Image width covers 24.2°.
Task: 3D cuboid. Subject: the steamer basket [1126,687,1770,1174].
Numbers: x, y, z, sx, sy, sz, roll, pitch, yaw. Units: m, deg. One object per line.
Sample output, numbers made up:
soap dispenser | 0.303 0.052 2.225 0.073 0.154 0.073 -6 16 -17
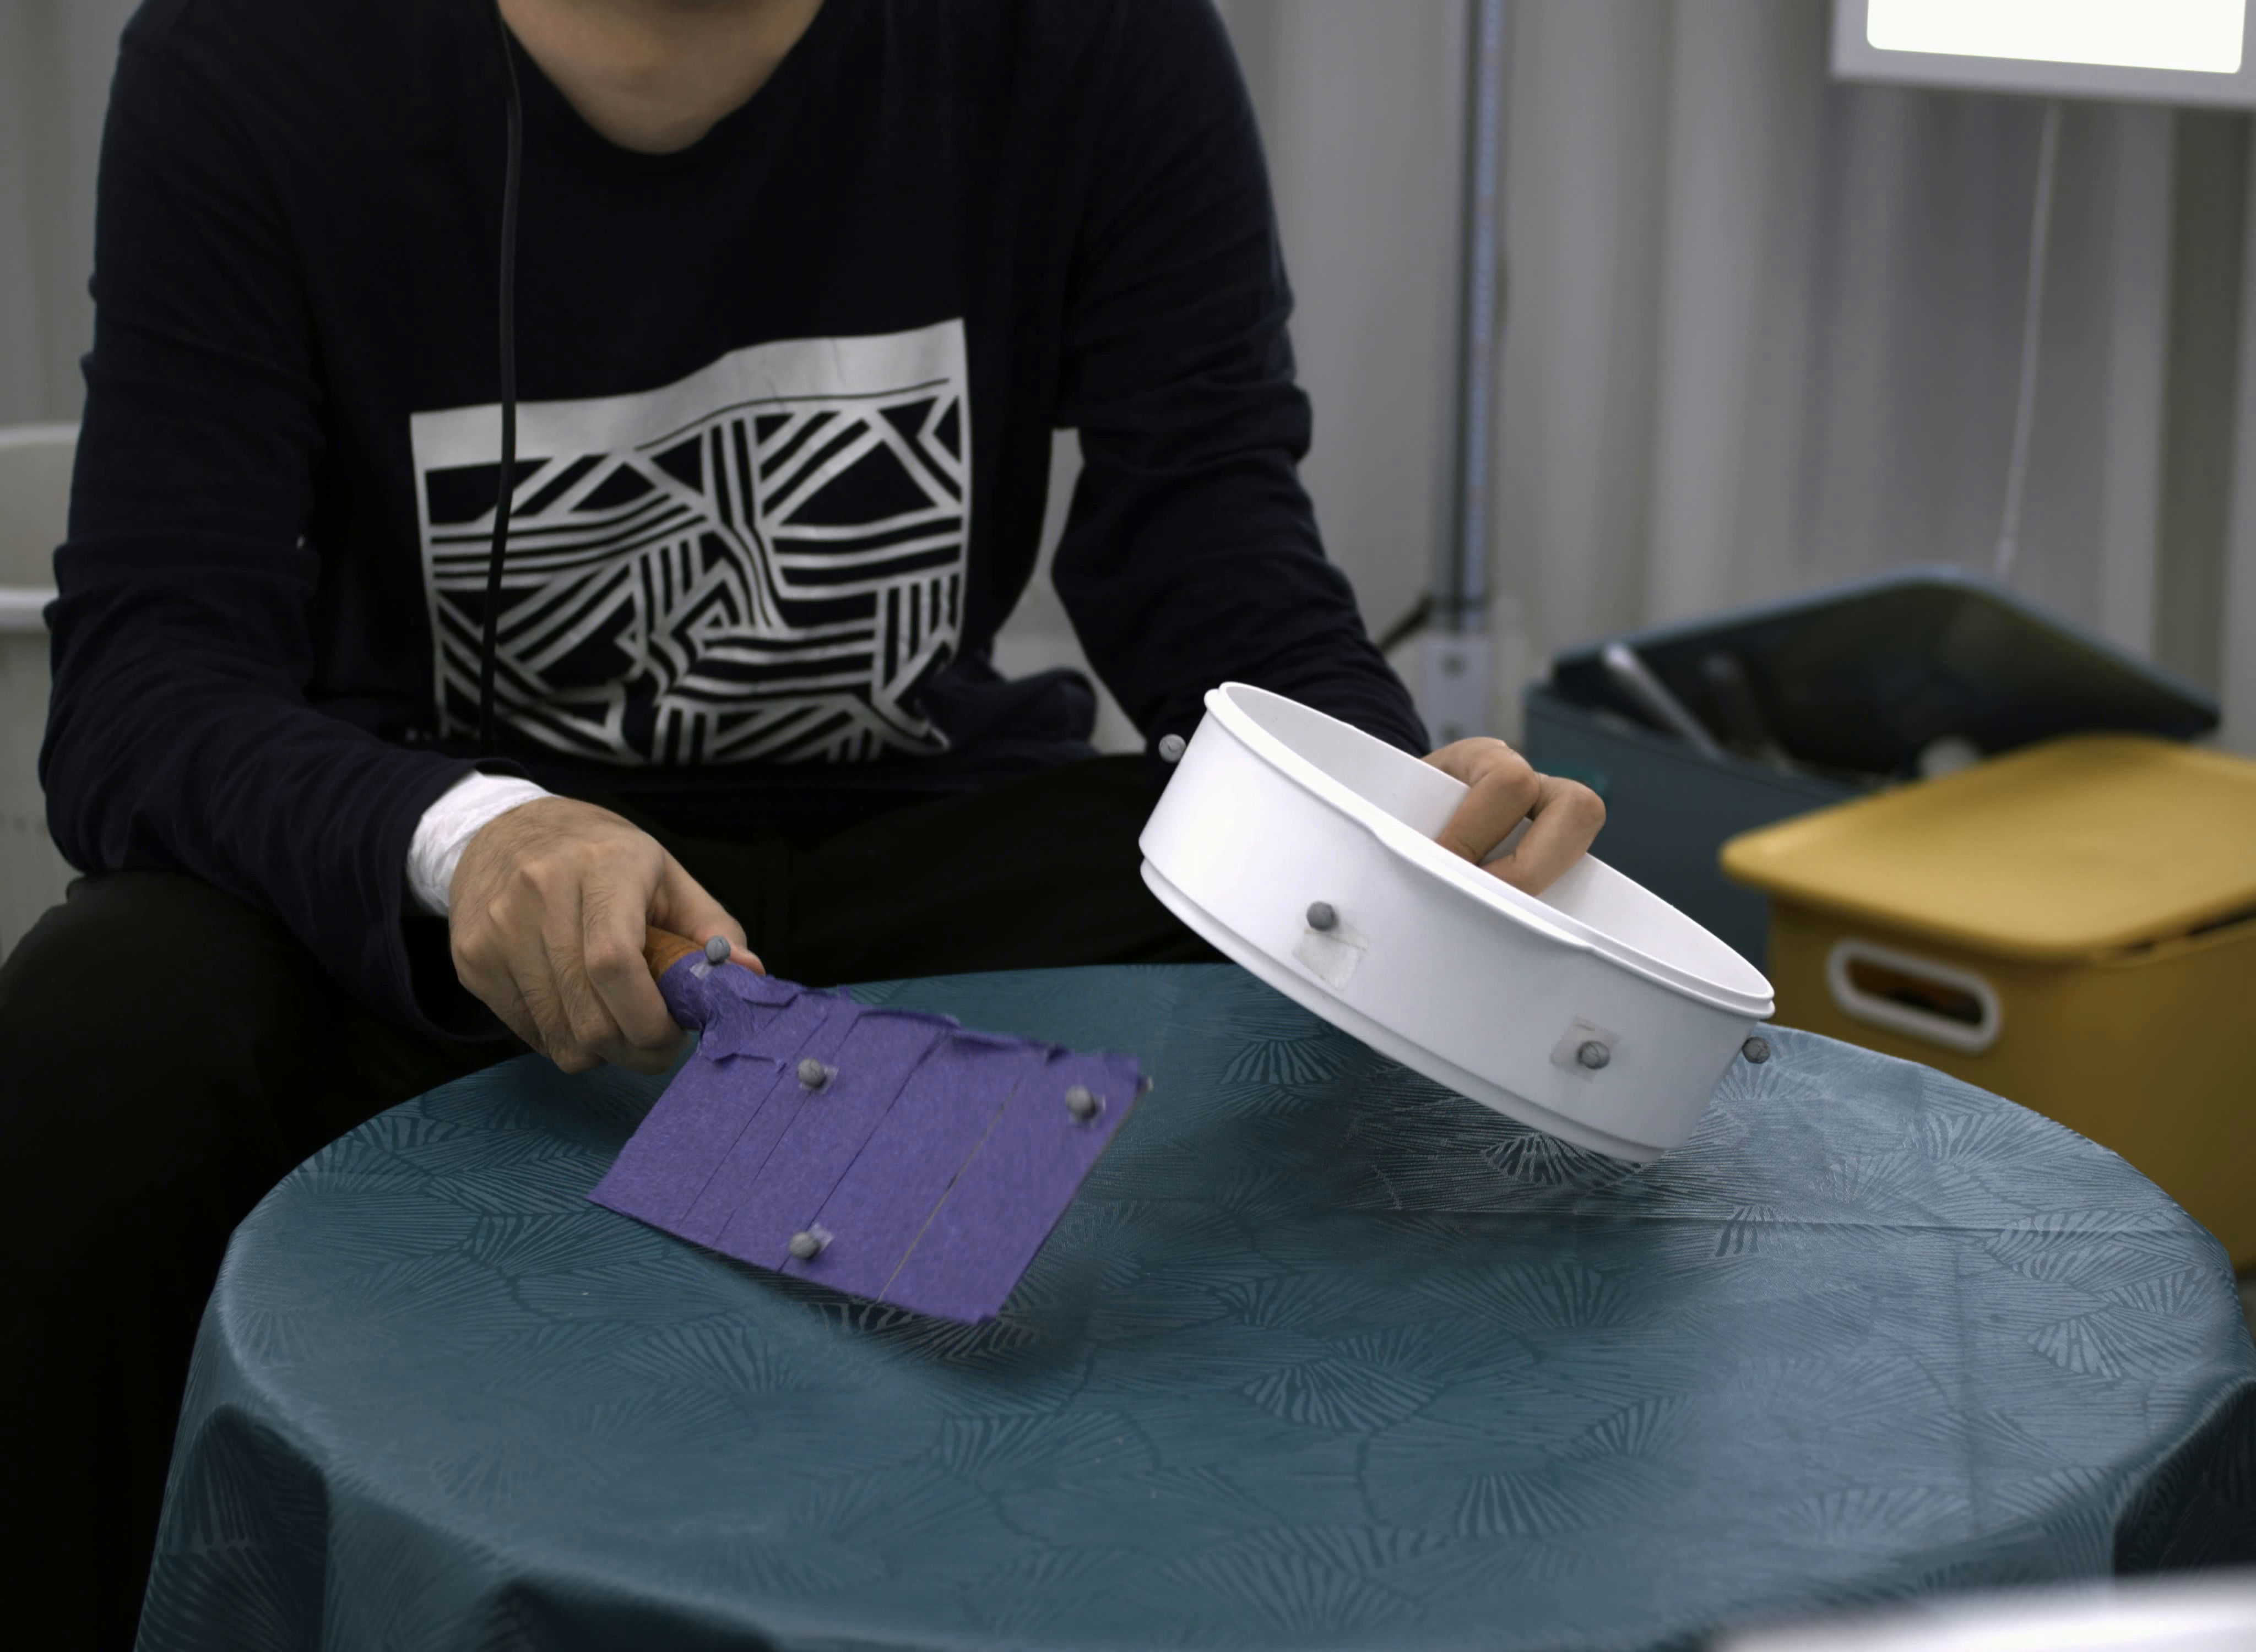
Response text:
steamer basket | 0.097 0.035 1.624 0.201 0.069 0.230 30 5 1

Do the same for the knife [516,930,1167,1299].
knife | -0.112 0.084 1.583 0.311 0.032 0.104 9 55 53
